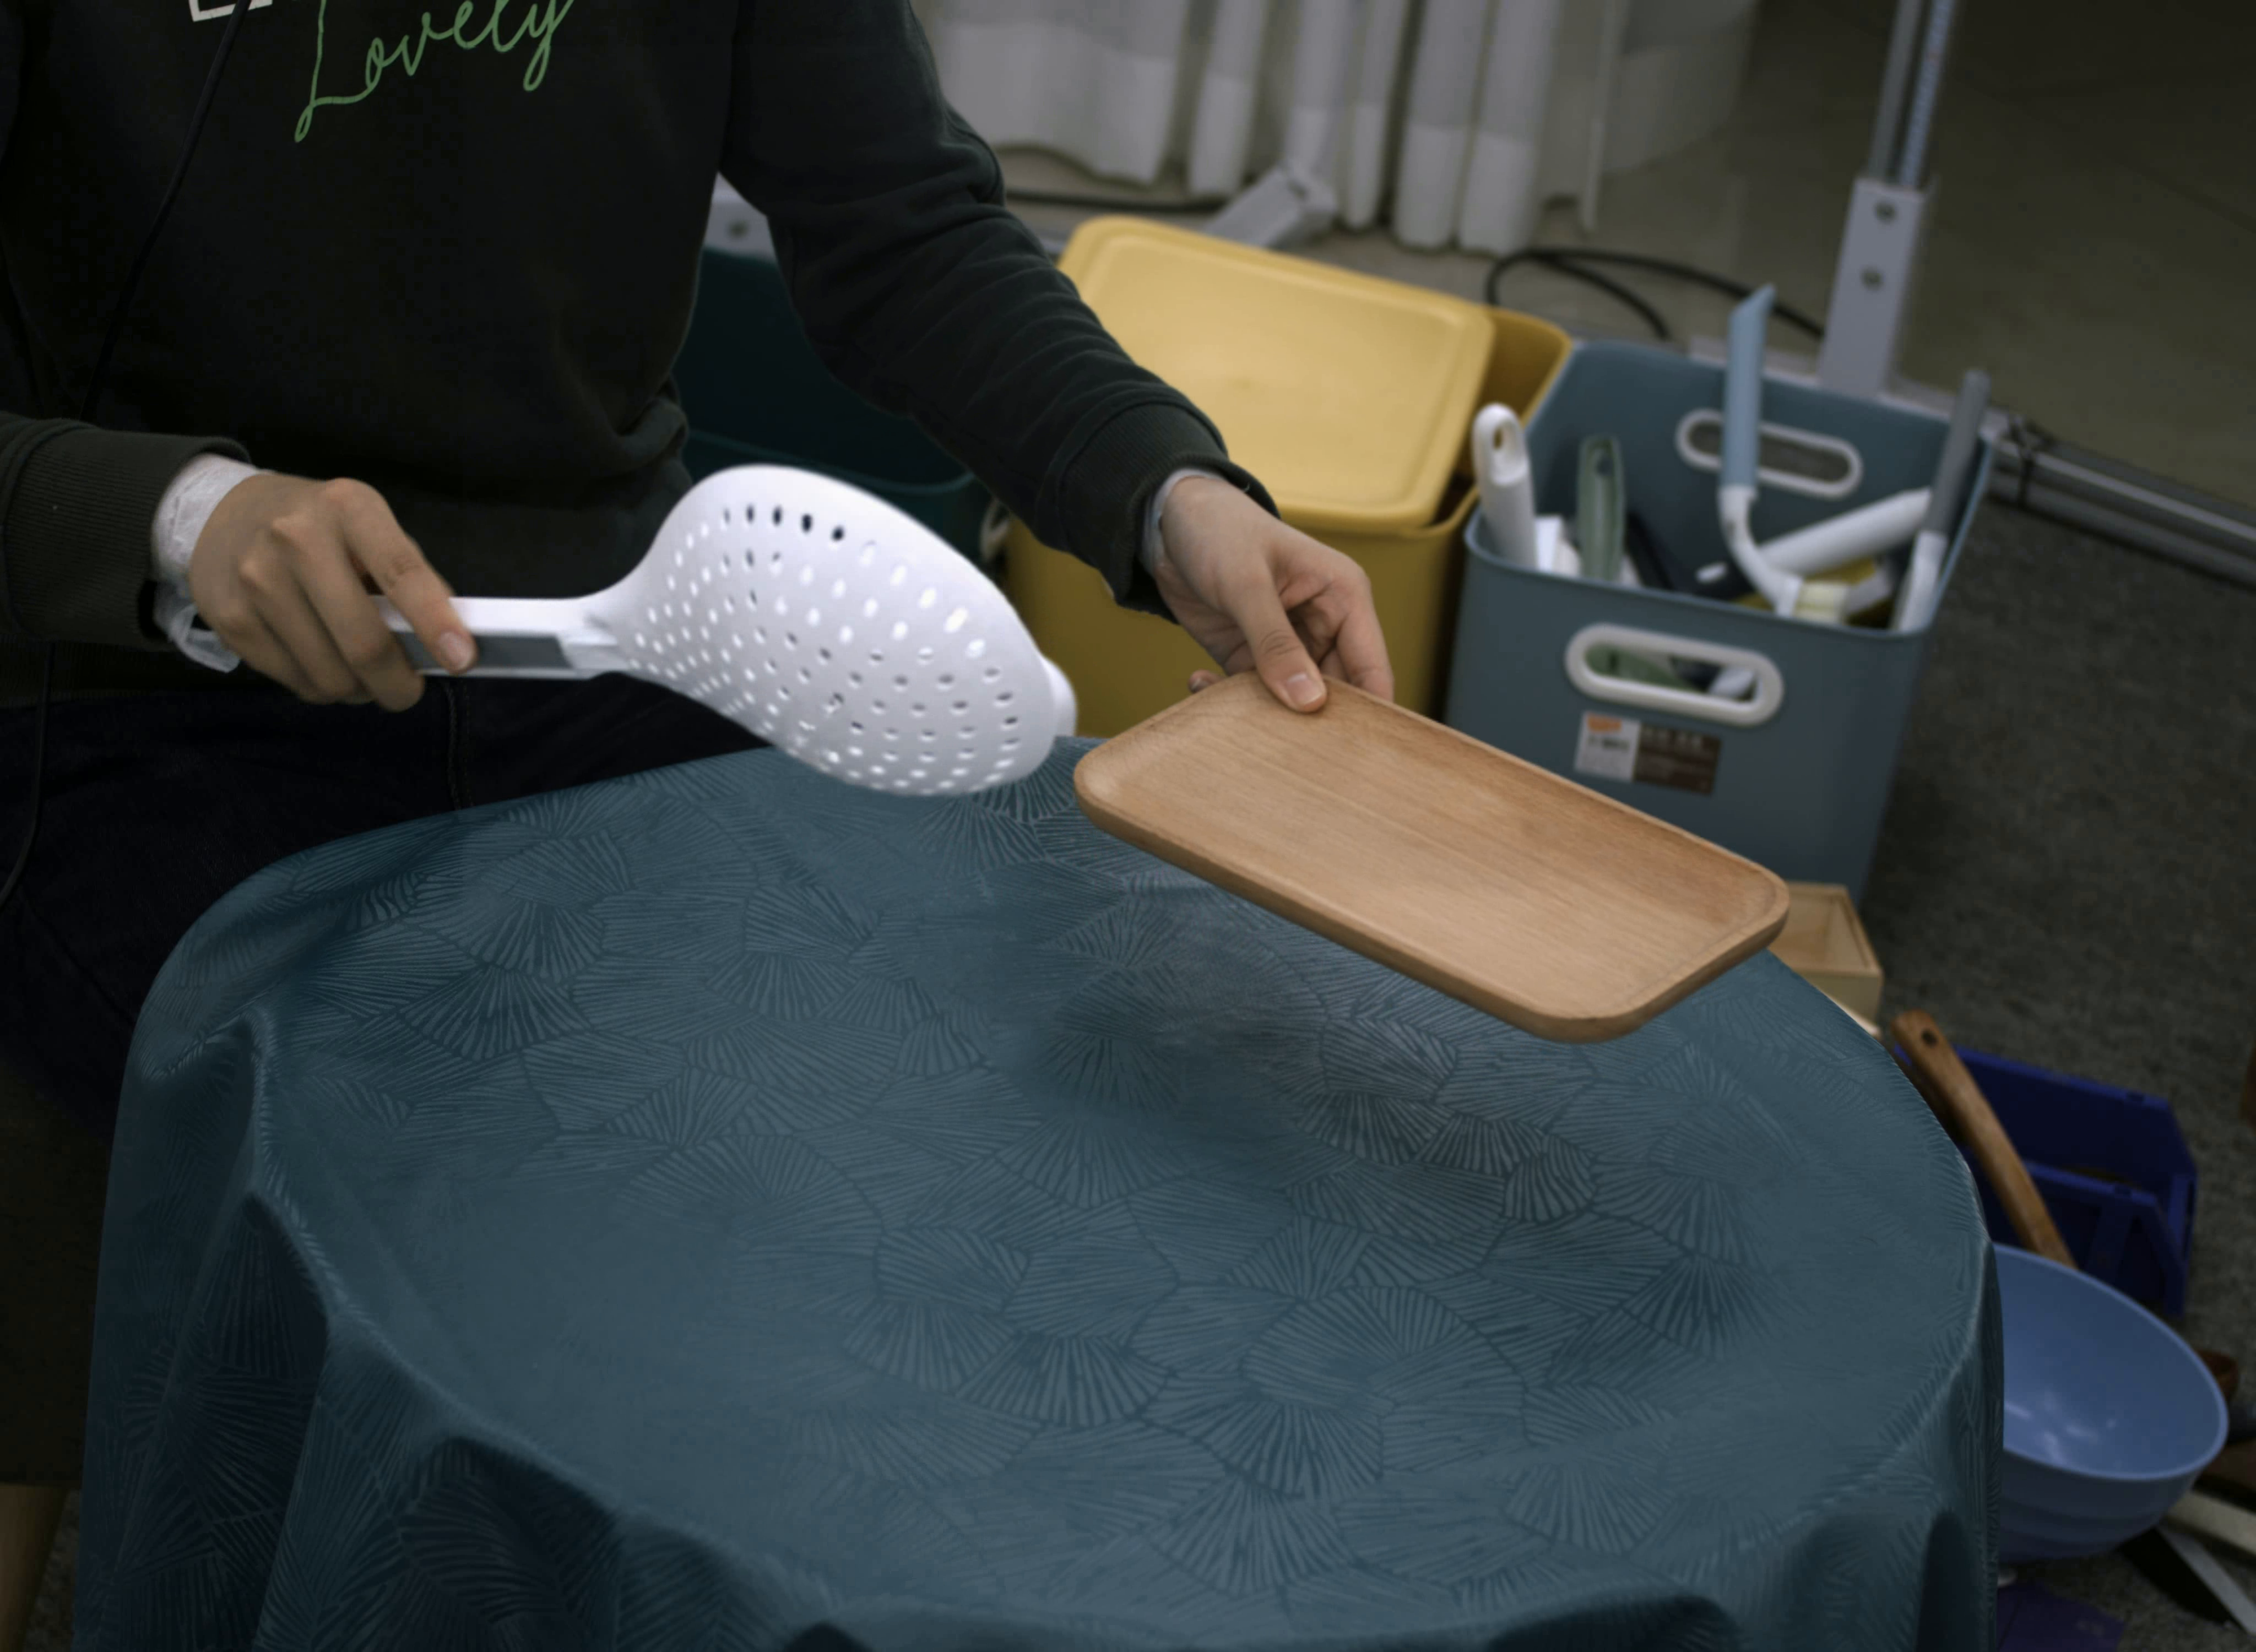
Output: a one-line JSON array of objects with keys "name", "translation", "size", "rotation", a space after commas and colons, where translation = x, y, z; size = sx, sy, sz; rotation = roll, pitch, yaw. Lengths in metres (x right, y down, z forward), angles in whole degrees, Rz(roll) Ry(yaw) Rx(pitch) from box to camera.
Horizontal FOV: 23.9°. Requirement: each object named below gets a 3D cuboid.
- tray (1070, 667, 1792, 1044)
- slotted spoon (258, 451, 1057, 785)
[{"name": "tray", "translation": [0.102, 0.008, 1.843], "size": [0.252, 0.023, 0.130], "rotation": [24, 36, 38]}, {"name": "slotted spoon", "translation": [-0.163, -0.062, 1.705], "size": [0.352, 0.135, 0.046], "rotation": [7, 50, 46]}]
